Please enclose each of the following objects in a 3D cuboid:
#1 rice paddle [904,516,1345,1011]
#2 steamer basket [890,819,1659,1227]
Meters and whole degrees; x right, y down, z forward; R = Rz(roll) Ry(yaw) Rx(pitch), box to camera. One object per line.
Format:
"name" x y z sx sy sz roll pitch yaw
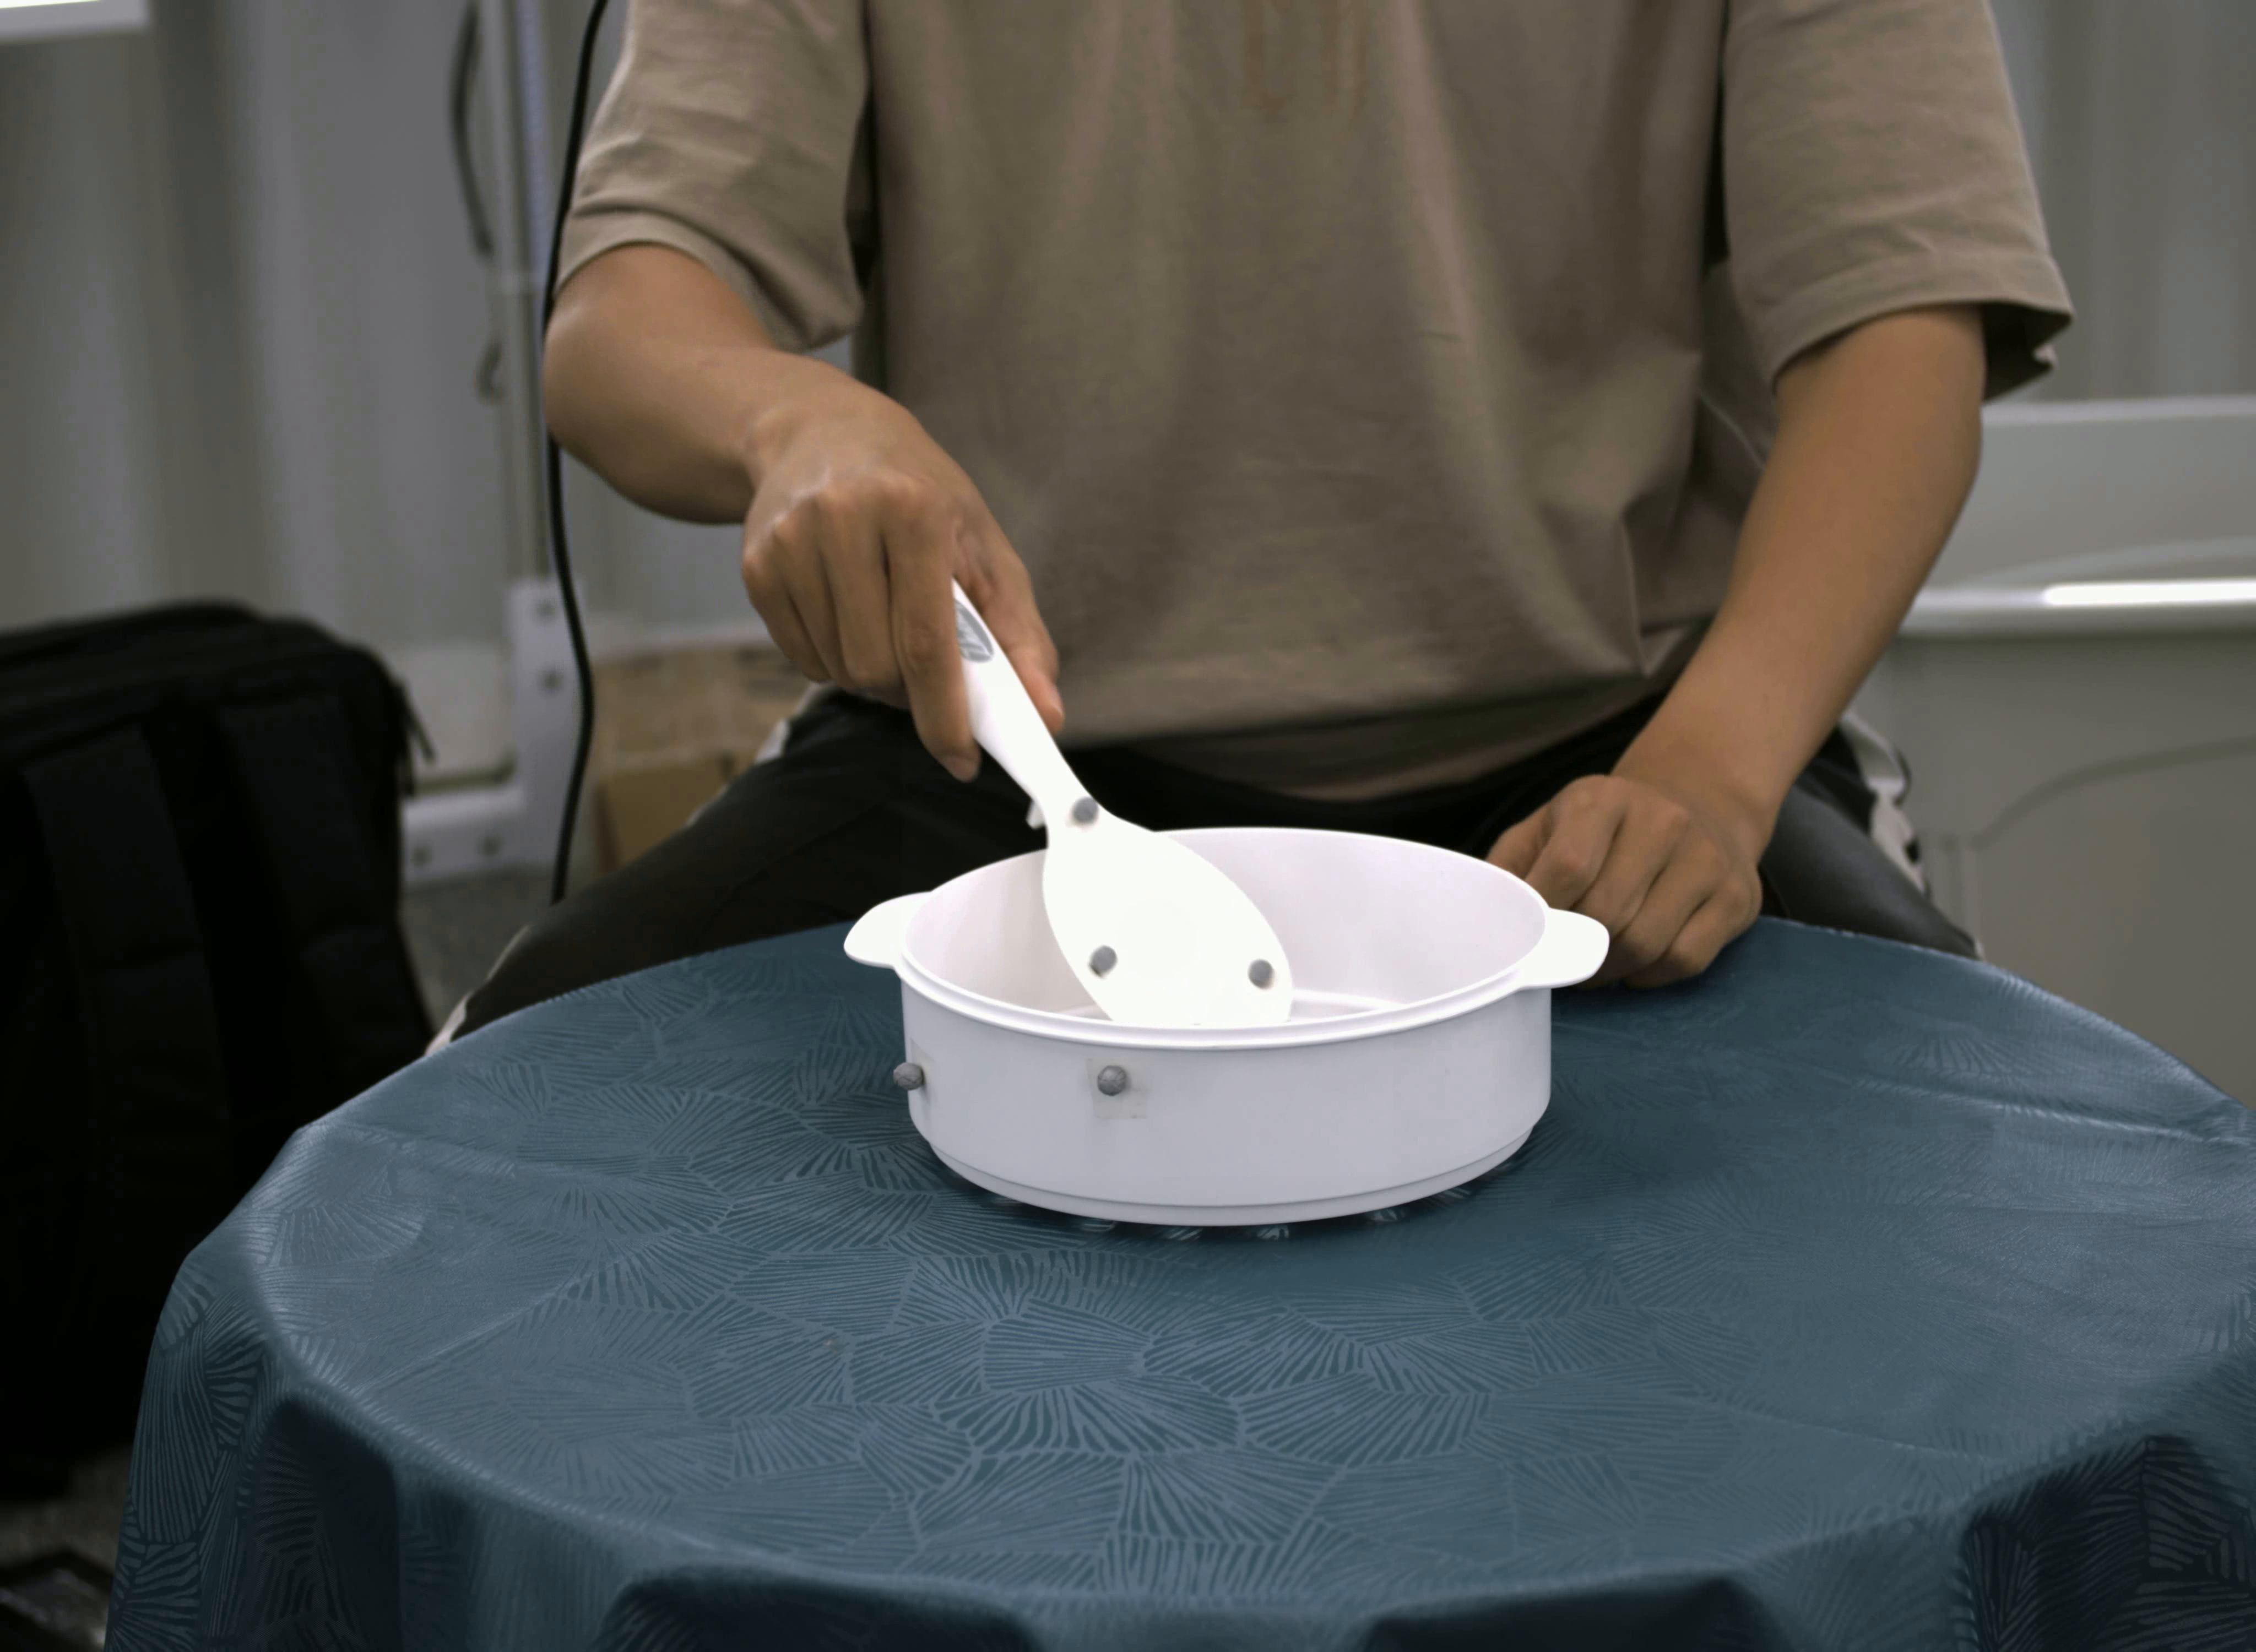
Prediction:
"rice paddle" -0.002 -0.013 1.648 0.067 0.029 0.209 -21 60 -31
"steamer basket" 0.043 0.059 1.592 0.232 0.069 0.200 4 17 13
